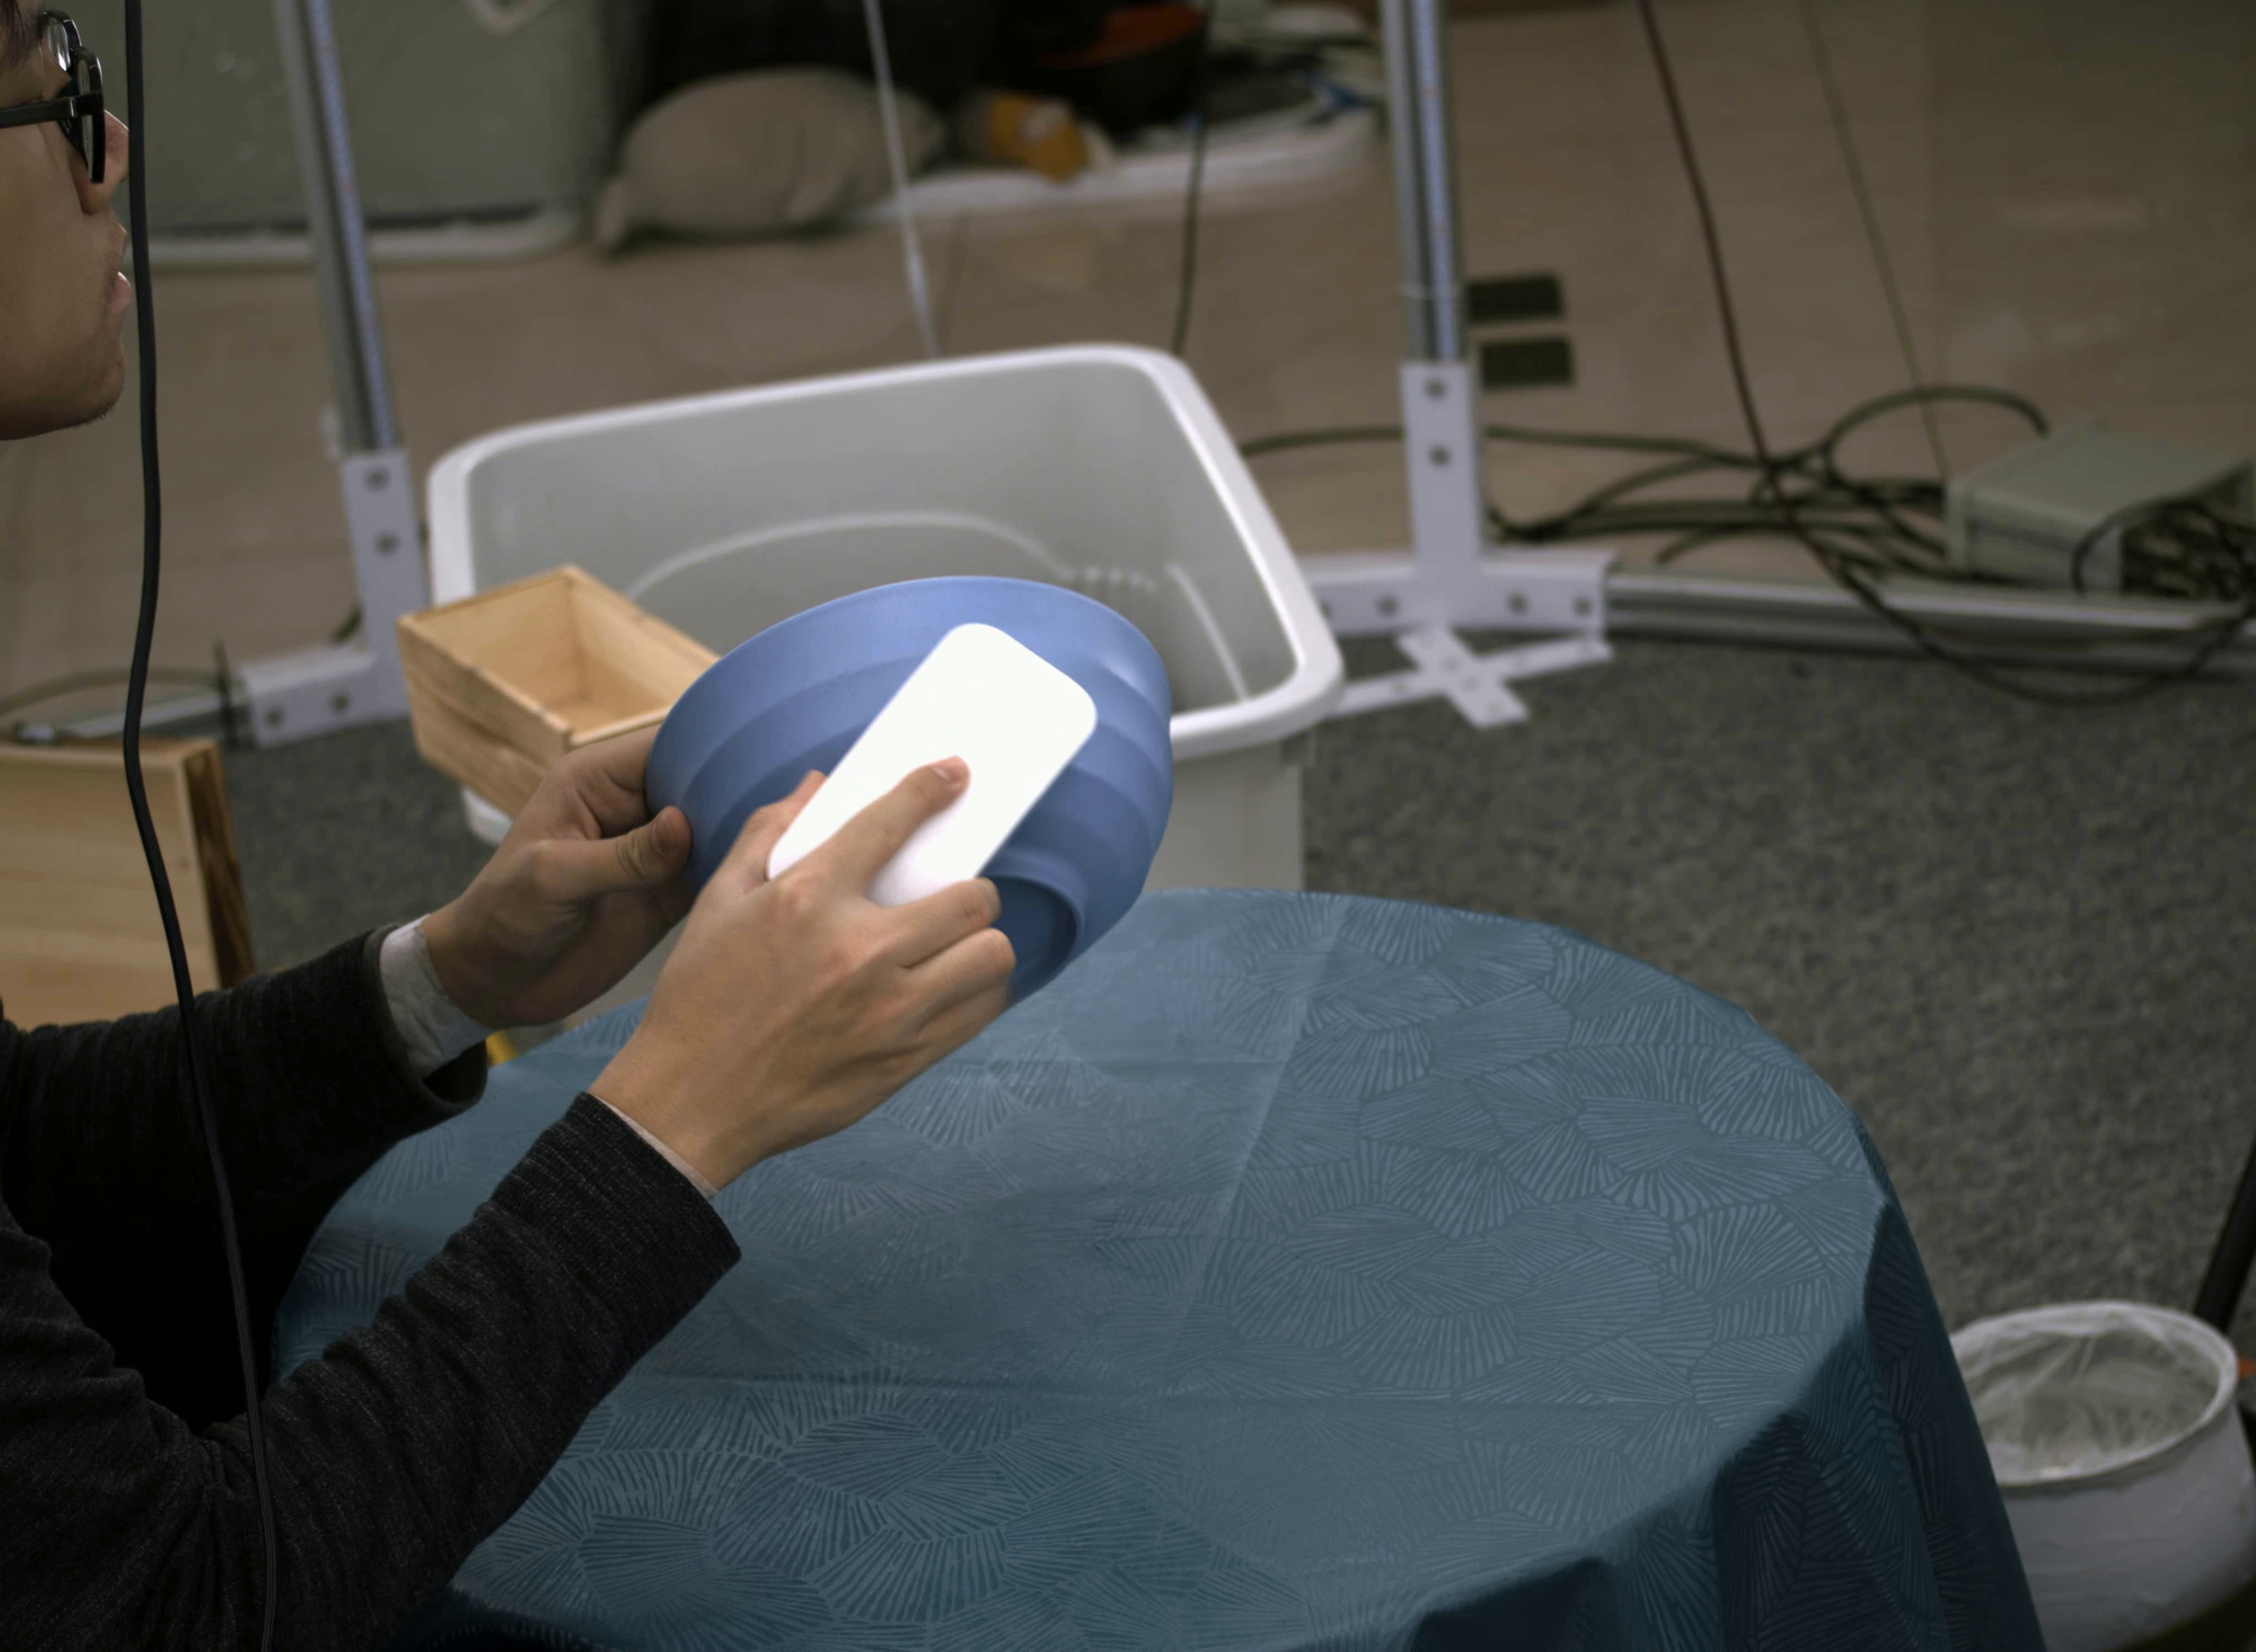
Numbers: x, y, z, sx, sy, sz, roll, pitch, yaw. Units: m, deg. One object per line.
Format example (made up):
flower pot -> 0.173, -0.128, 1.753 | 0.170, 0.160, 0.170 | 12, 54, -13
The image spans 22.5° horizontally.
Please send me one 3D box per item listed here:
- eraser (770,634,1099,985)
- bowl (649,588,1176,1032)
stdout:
eraser -> -0.068, -0.007, 1.950 | 0.063, 0.035, 0.130 | 36, 66, 7
bowl -> -0.069, 0.010, 2.052 | 0.196, 0.200, 0.094 | -9, 56, -7
